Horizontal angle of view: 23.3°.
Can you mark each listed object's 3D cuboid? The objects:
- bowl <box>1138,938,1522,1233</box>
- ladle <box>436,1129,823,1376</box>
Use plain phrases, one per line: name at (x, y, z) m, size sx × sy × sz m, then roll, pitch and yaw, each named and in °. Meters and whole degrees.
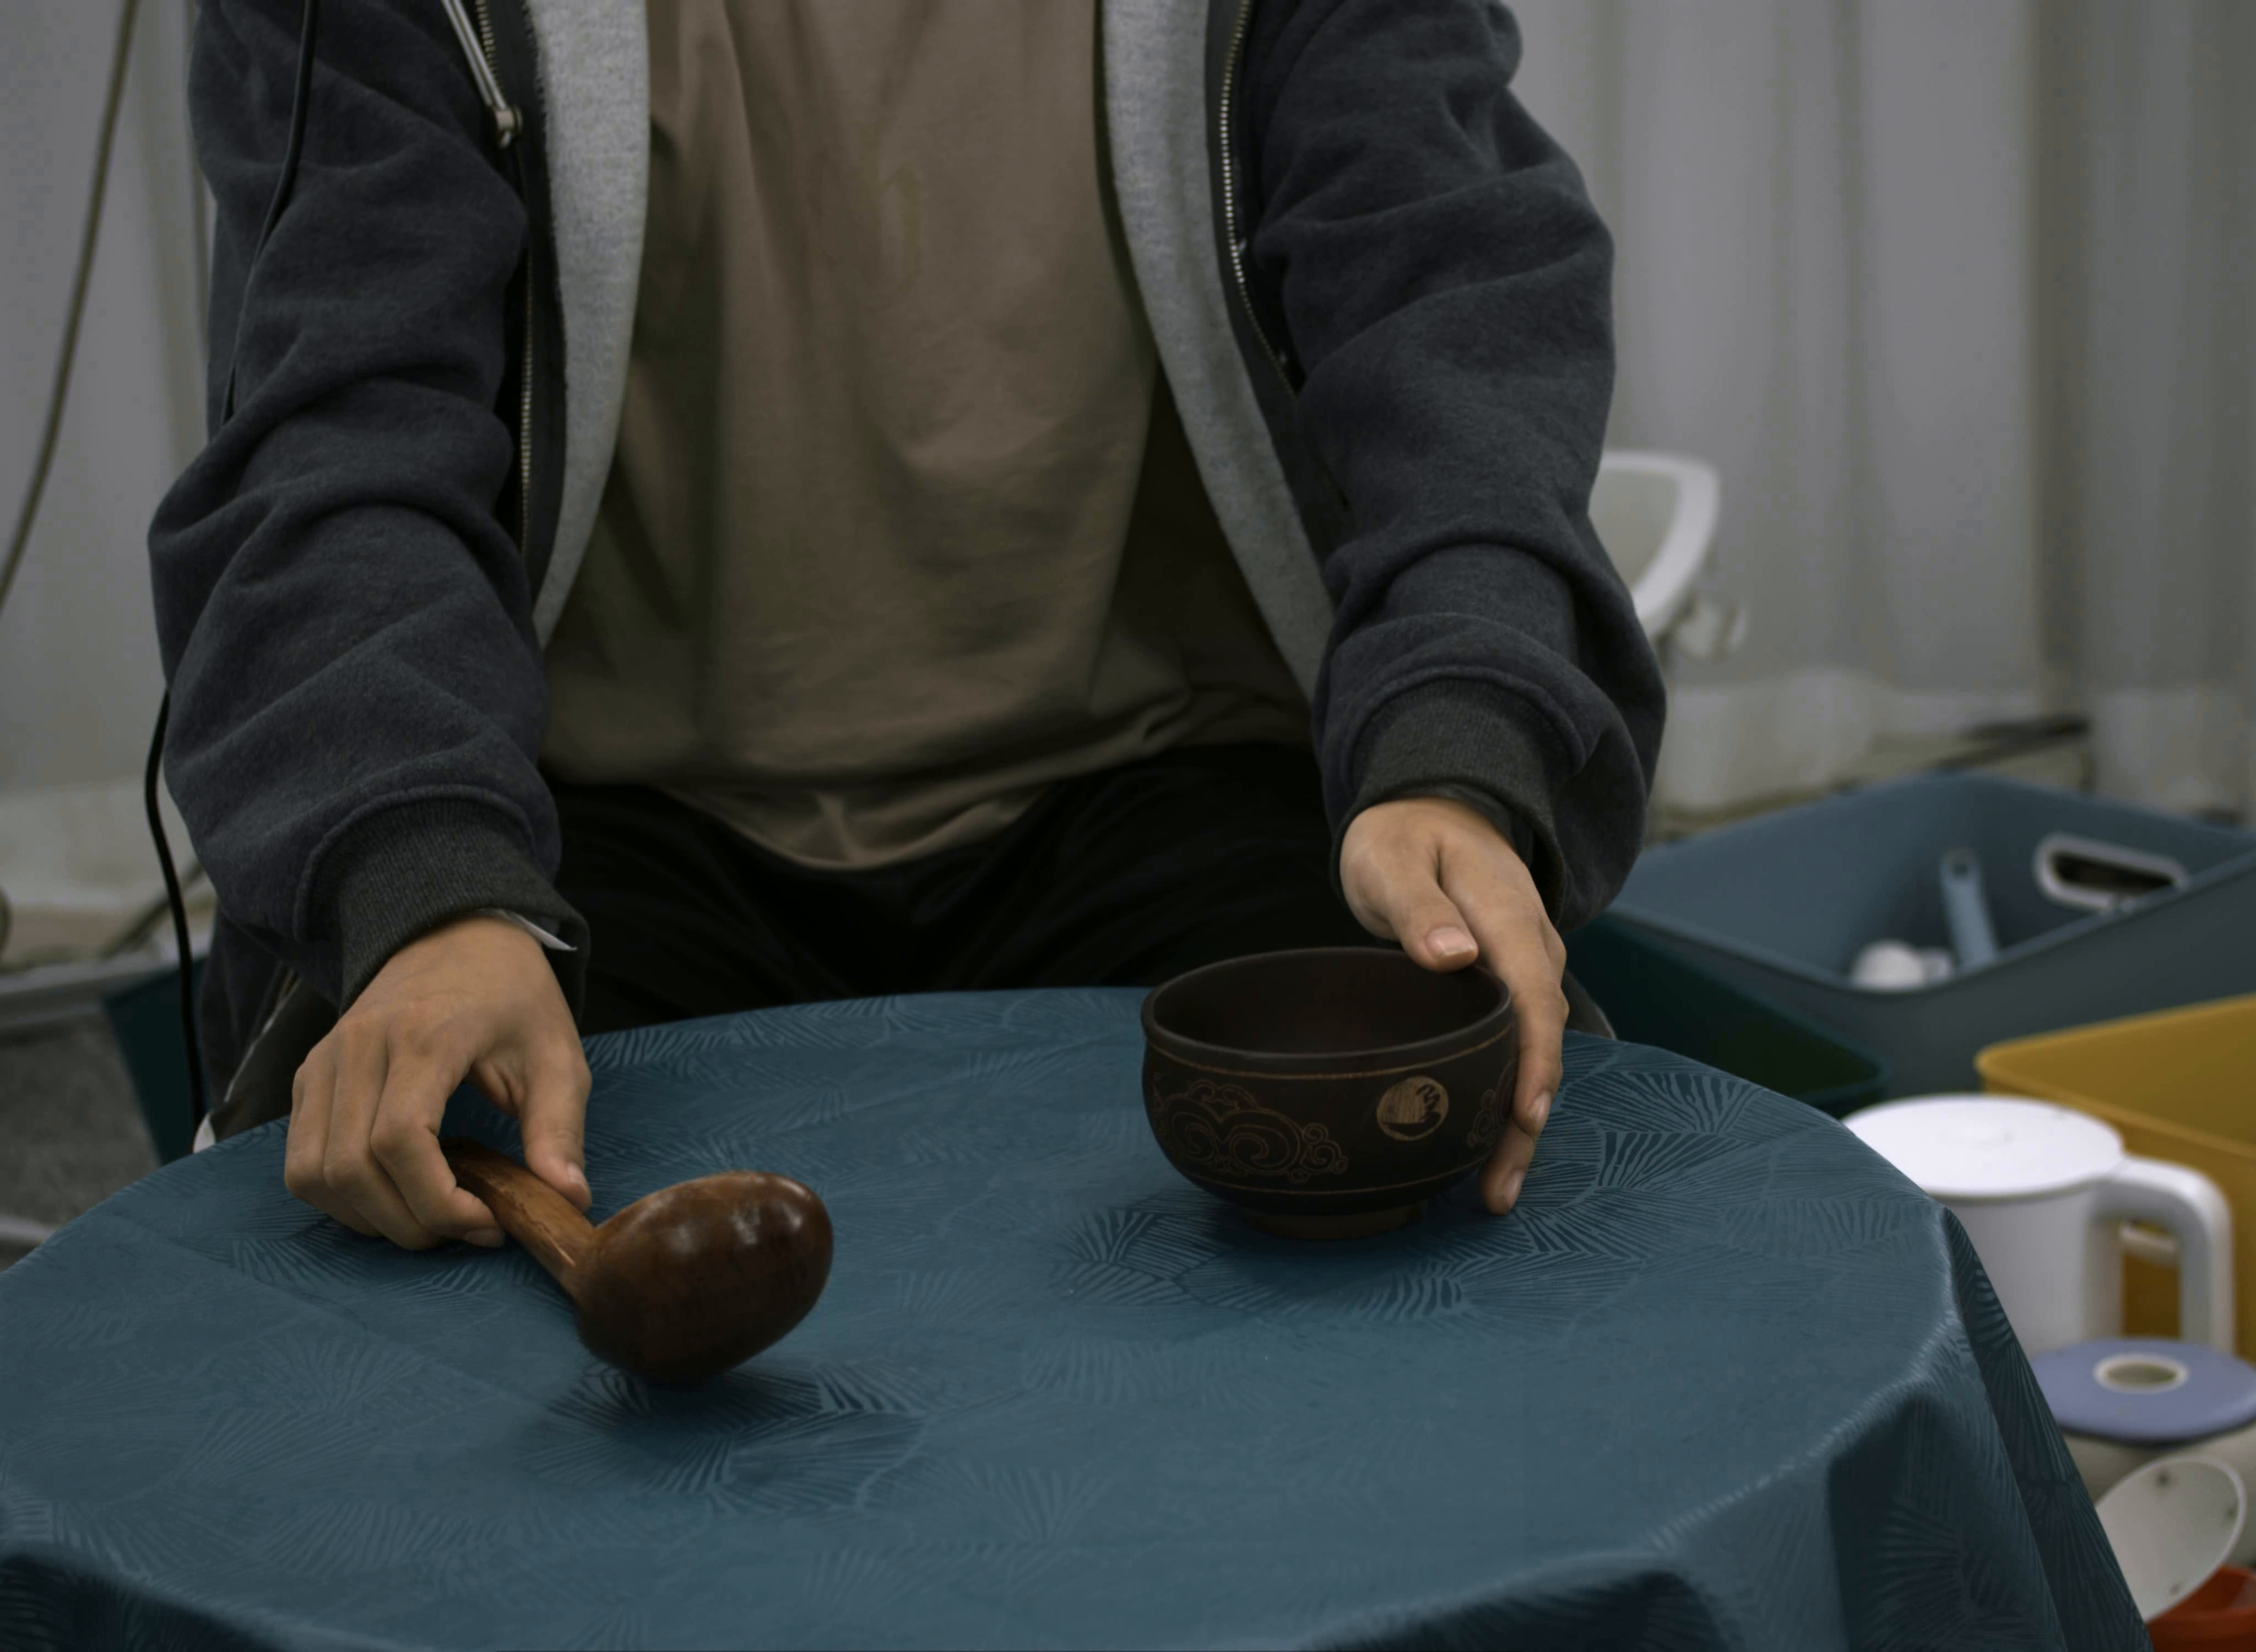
bowl at (0.063, 0.083, 1.678) m, size 0.117 × 0.069 × 0.119 m, roll -3°, pitch 15°, yaw 1°
ladle at (-0.166, 0.103, 1.639) m, size 0.081 × 0.076 × 0.276 m, roll -5°, pitch 15°, yaw -22°
